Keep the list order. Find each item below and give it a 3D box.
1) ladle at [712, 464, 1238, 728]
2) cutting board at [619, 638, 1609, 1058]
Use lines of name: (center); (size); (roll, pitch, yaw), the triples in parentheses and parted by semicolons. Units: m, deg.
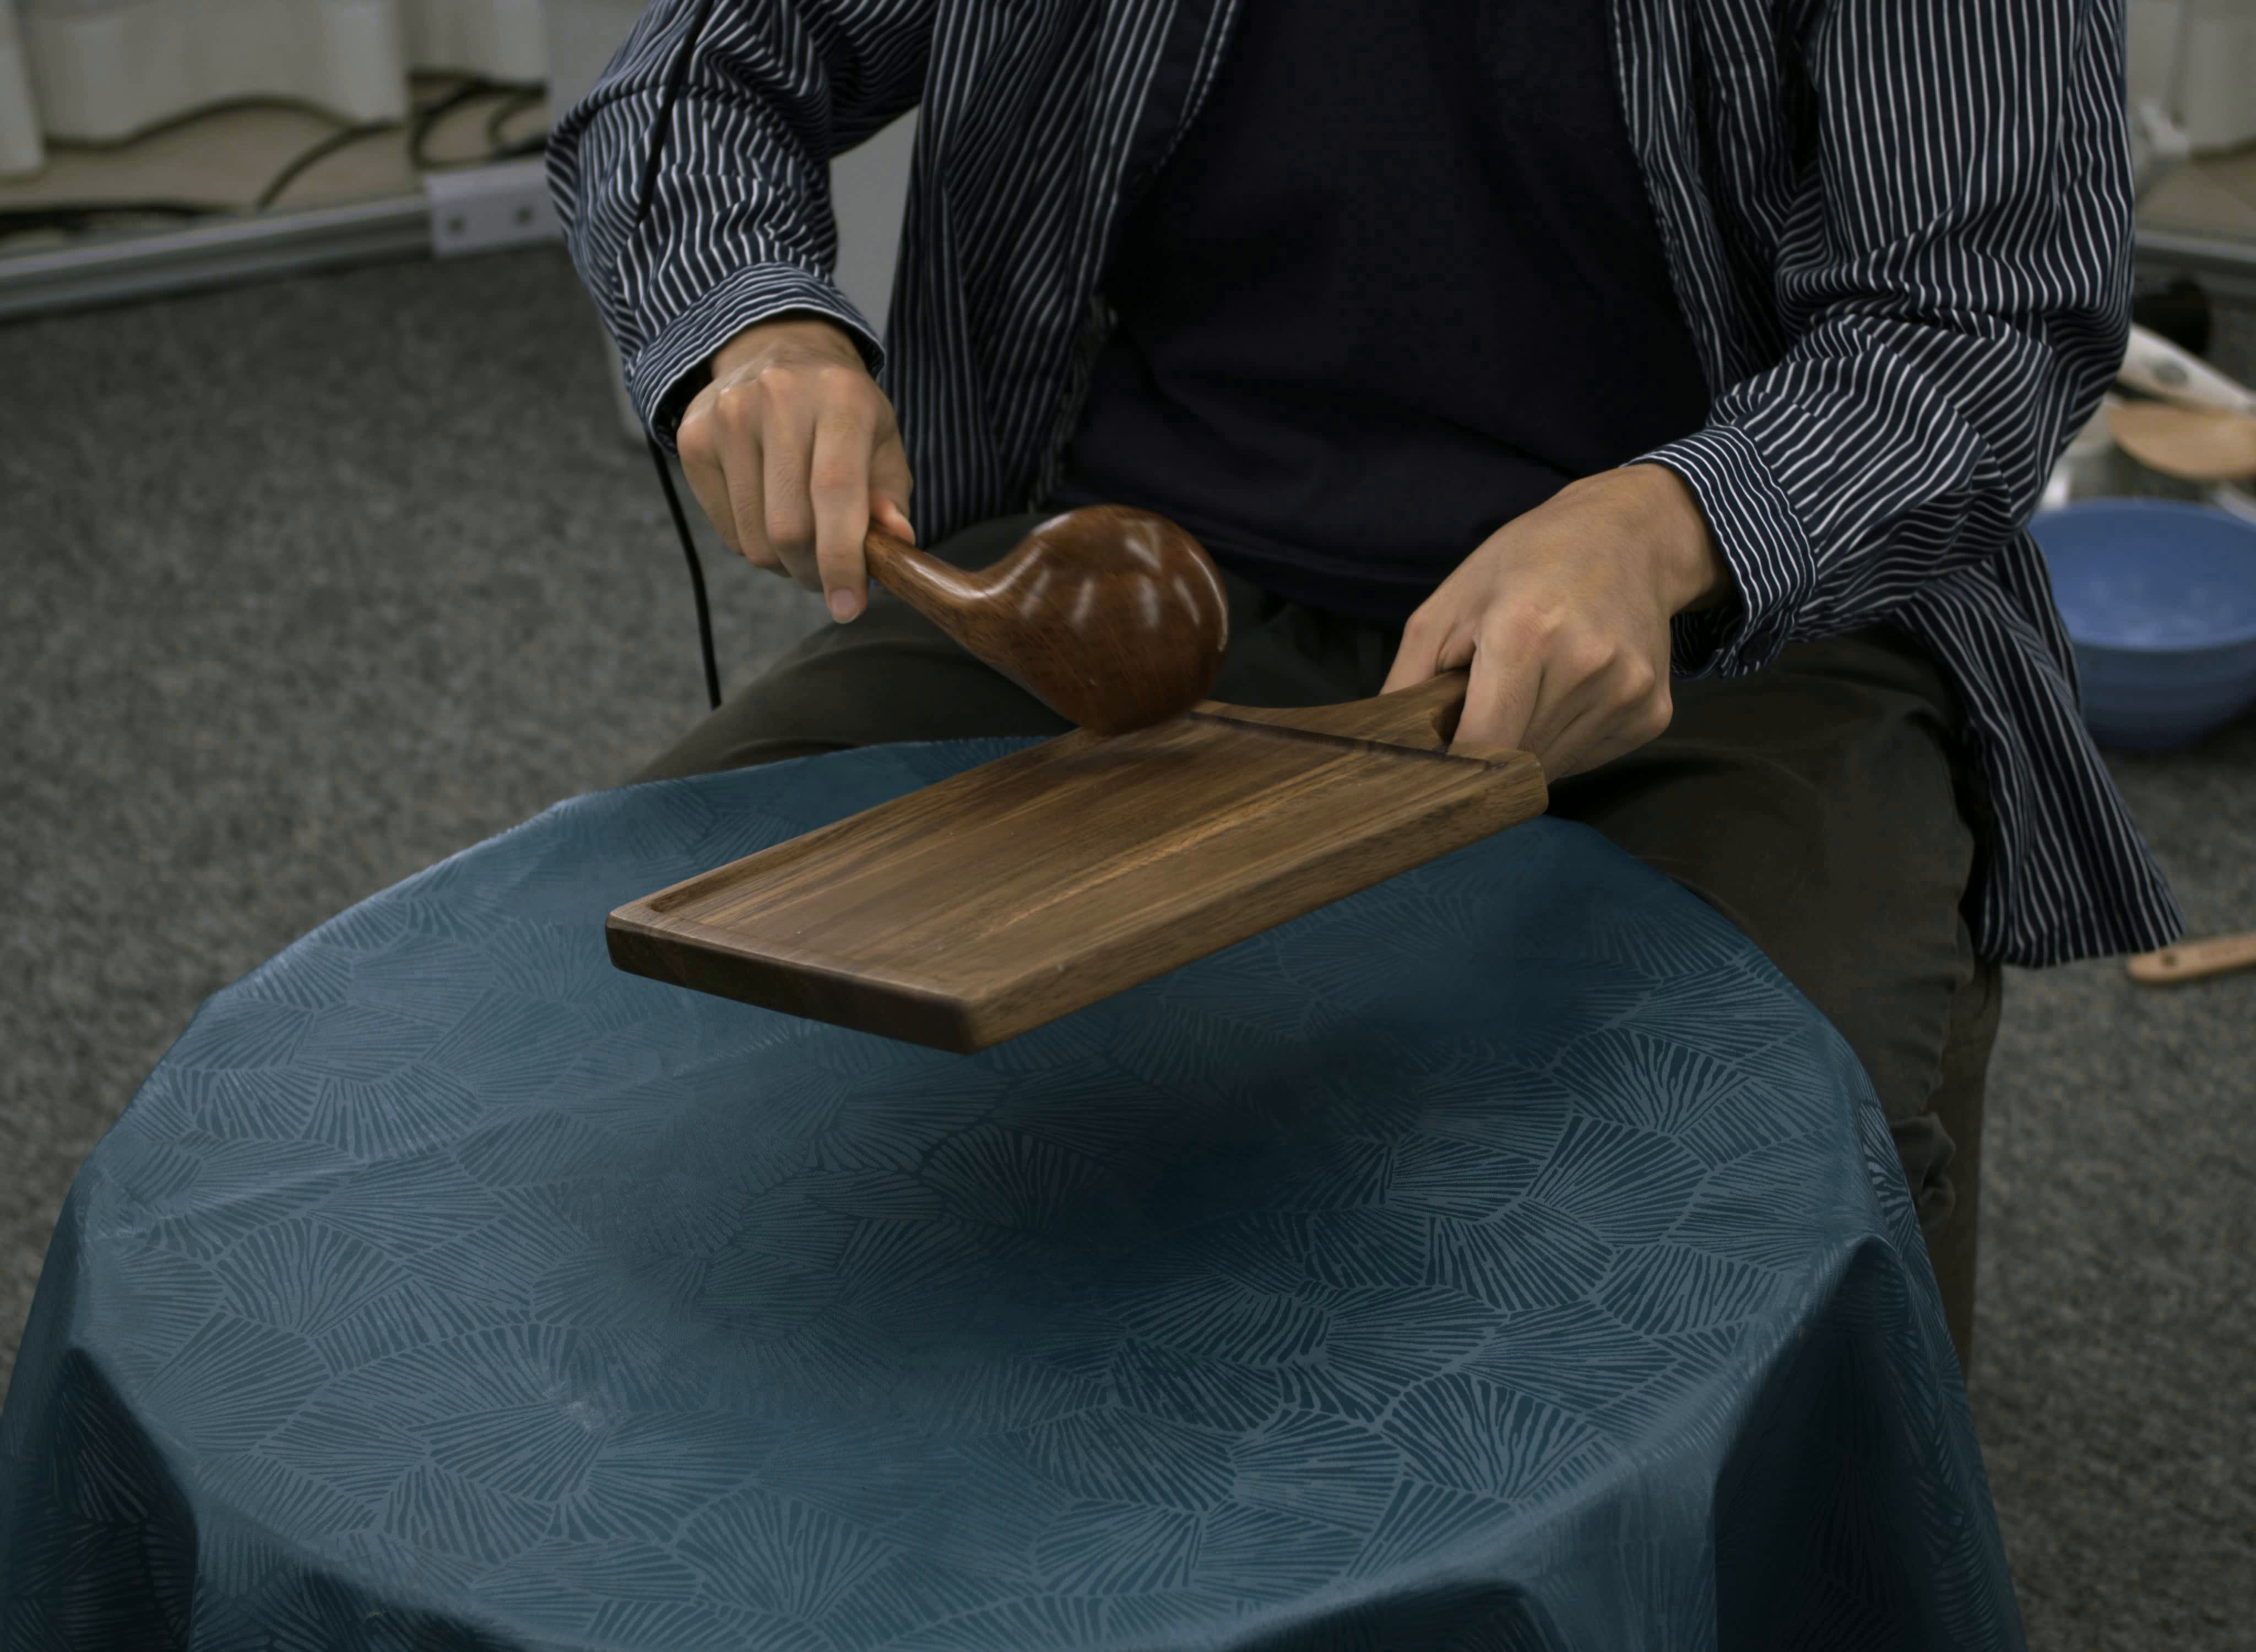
ladle: (-0.056, -0.099, 1.986); (0.077, 0.081, 0.274); (-11, 20, -27)
cutting board: (0.027, -0.002, 1.837); (0.355, 0.023, 0.200); (-21, 20, -35)
